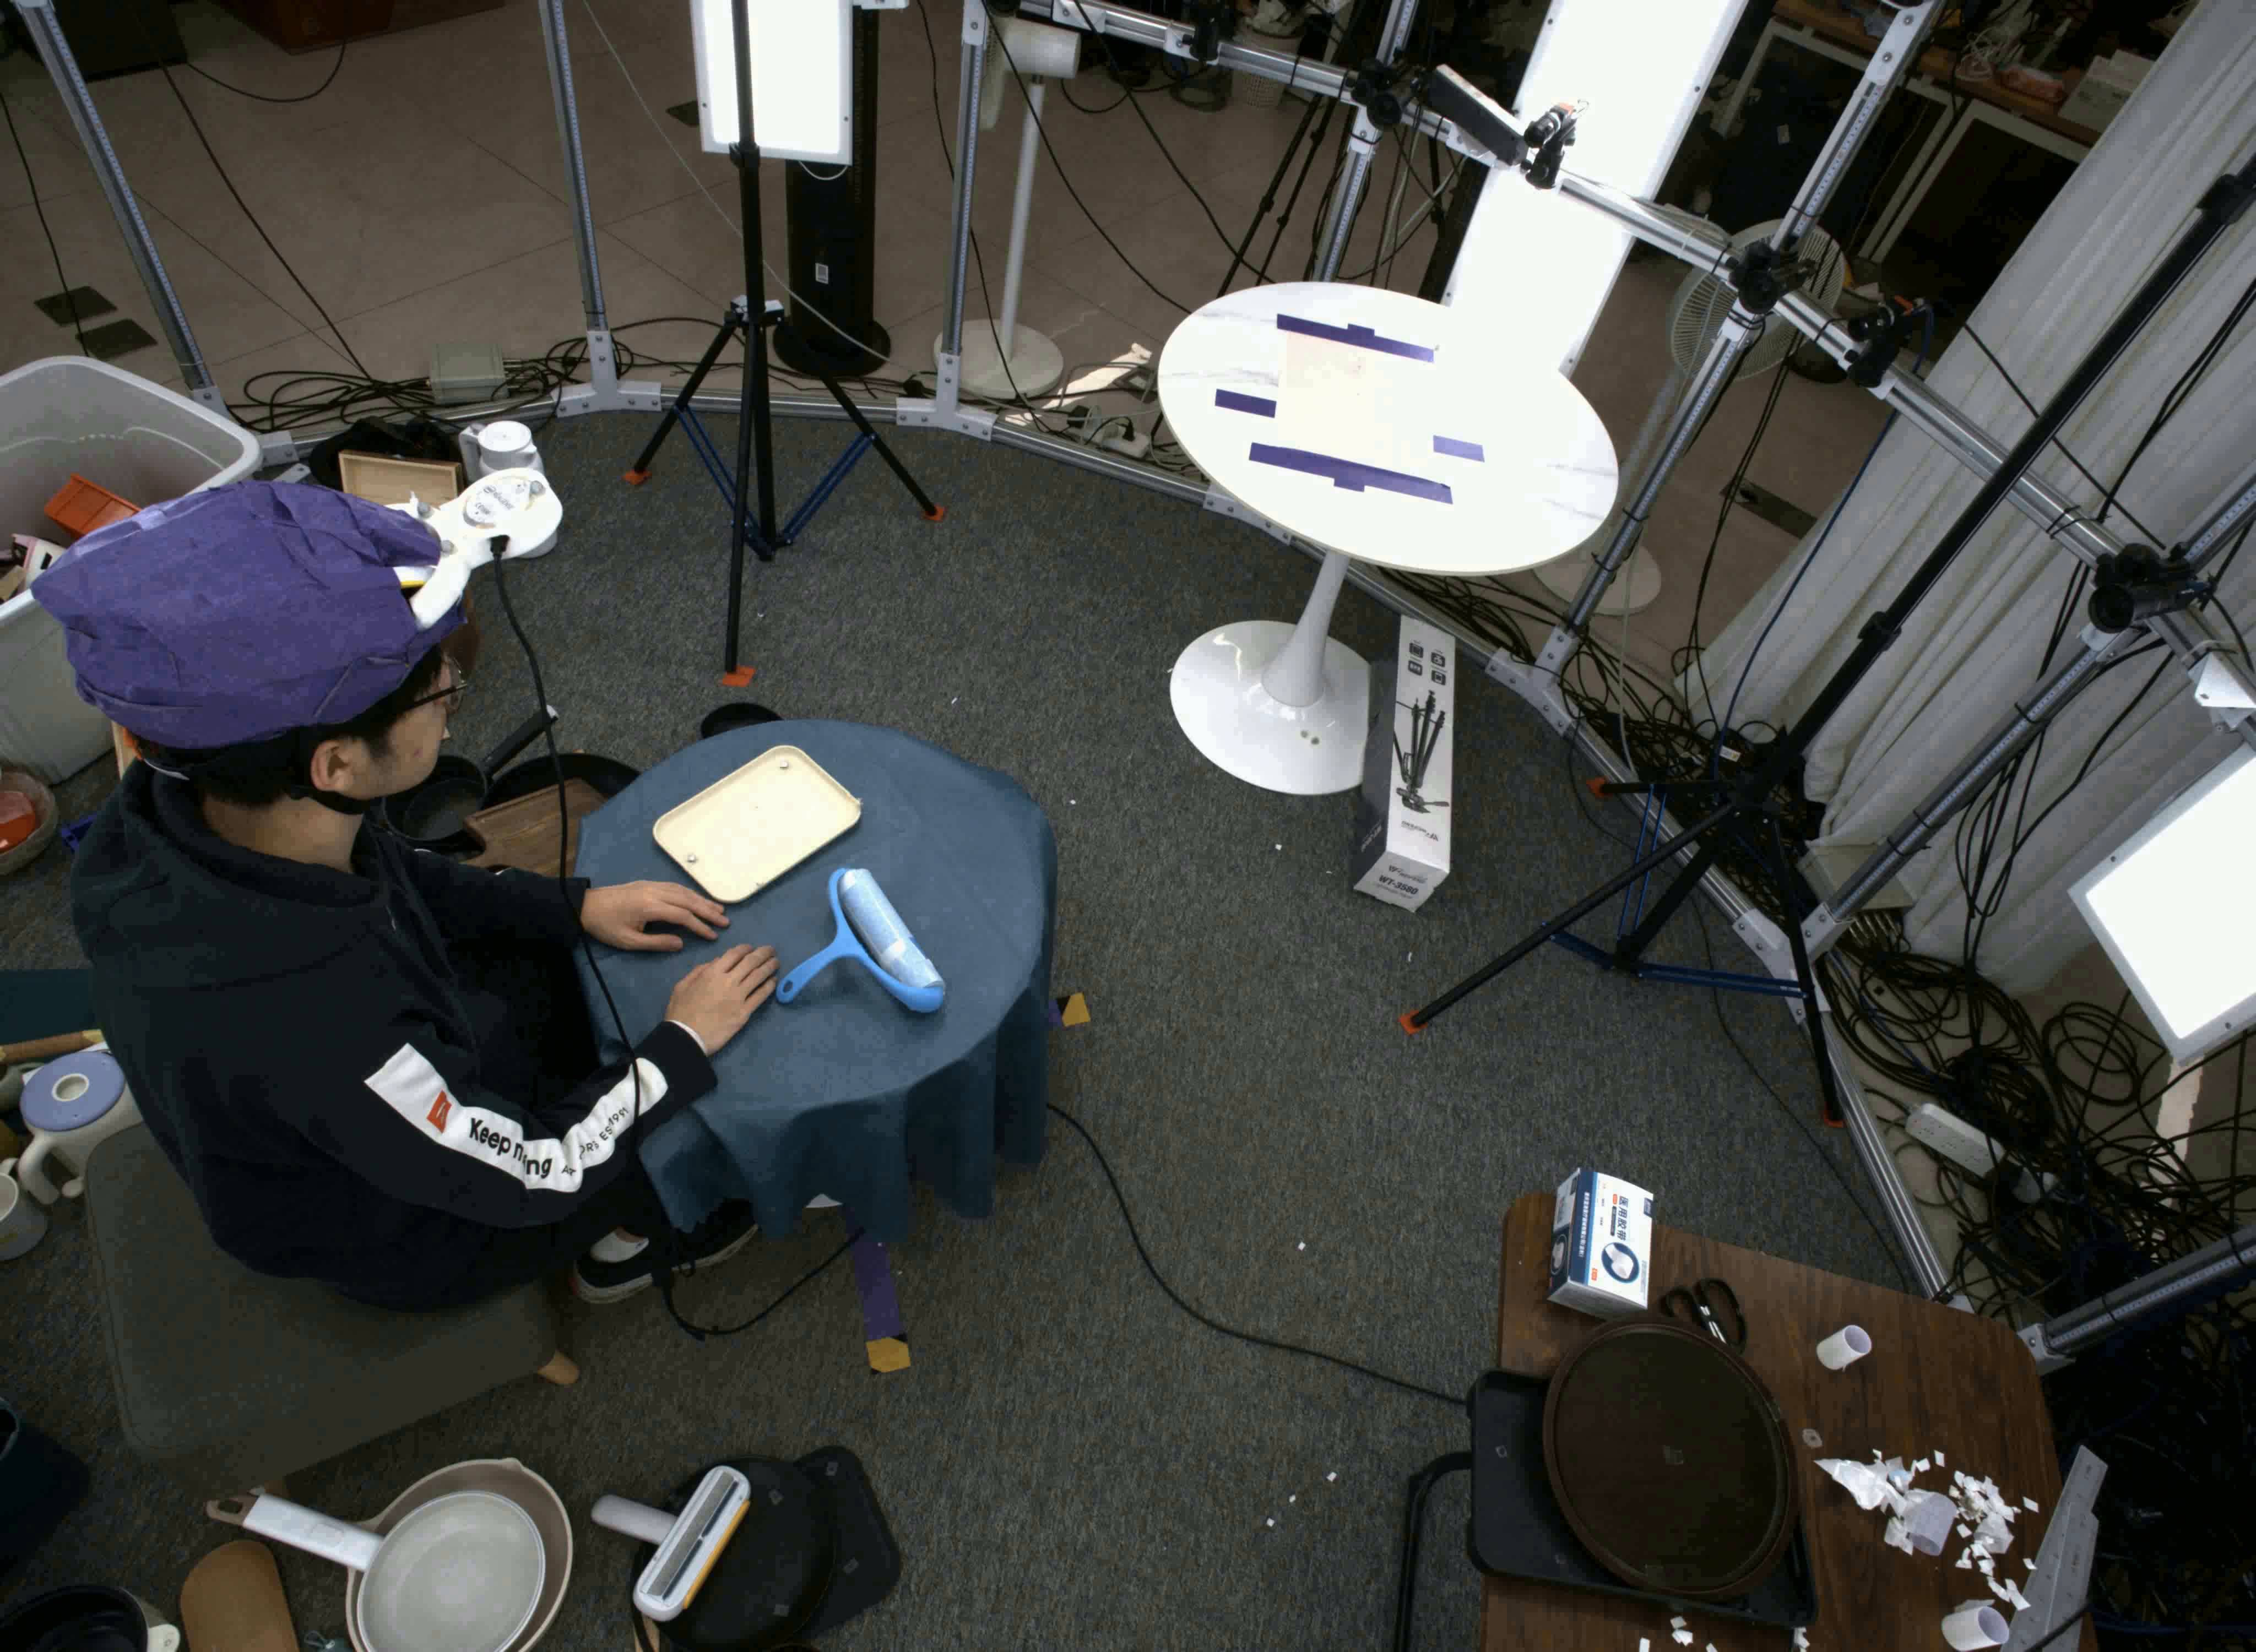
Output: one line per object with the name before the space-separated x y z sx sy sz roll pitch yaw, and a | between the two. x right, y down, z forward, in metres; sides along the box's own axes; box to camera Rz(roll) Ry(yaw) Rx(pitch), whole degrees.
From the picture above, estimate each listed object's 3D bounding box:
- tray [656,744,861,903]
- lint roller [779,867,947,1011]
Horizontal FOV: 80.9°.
tray | -0.485 -0.006 1.706 0.167 0.018 0.240 40 55 16
lint roller | -0.345 0.160 1.596 0.181 0.069 0.224 -28 67 -32
